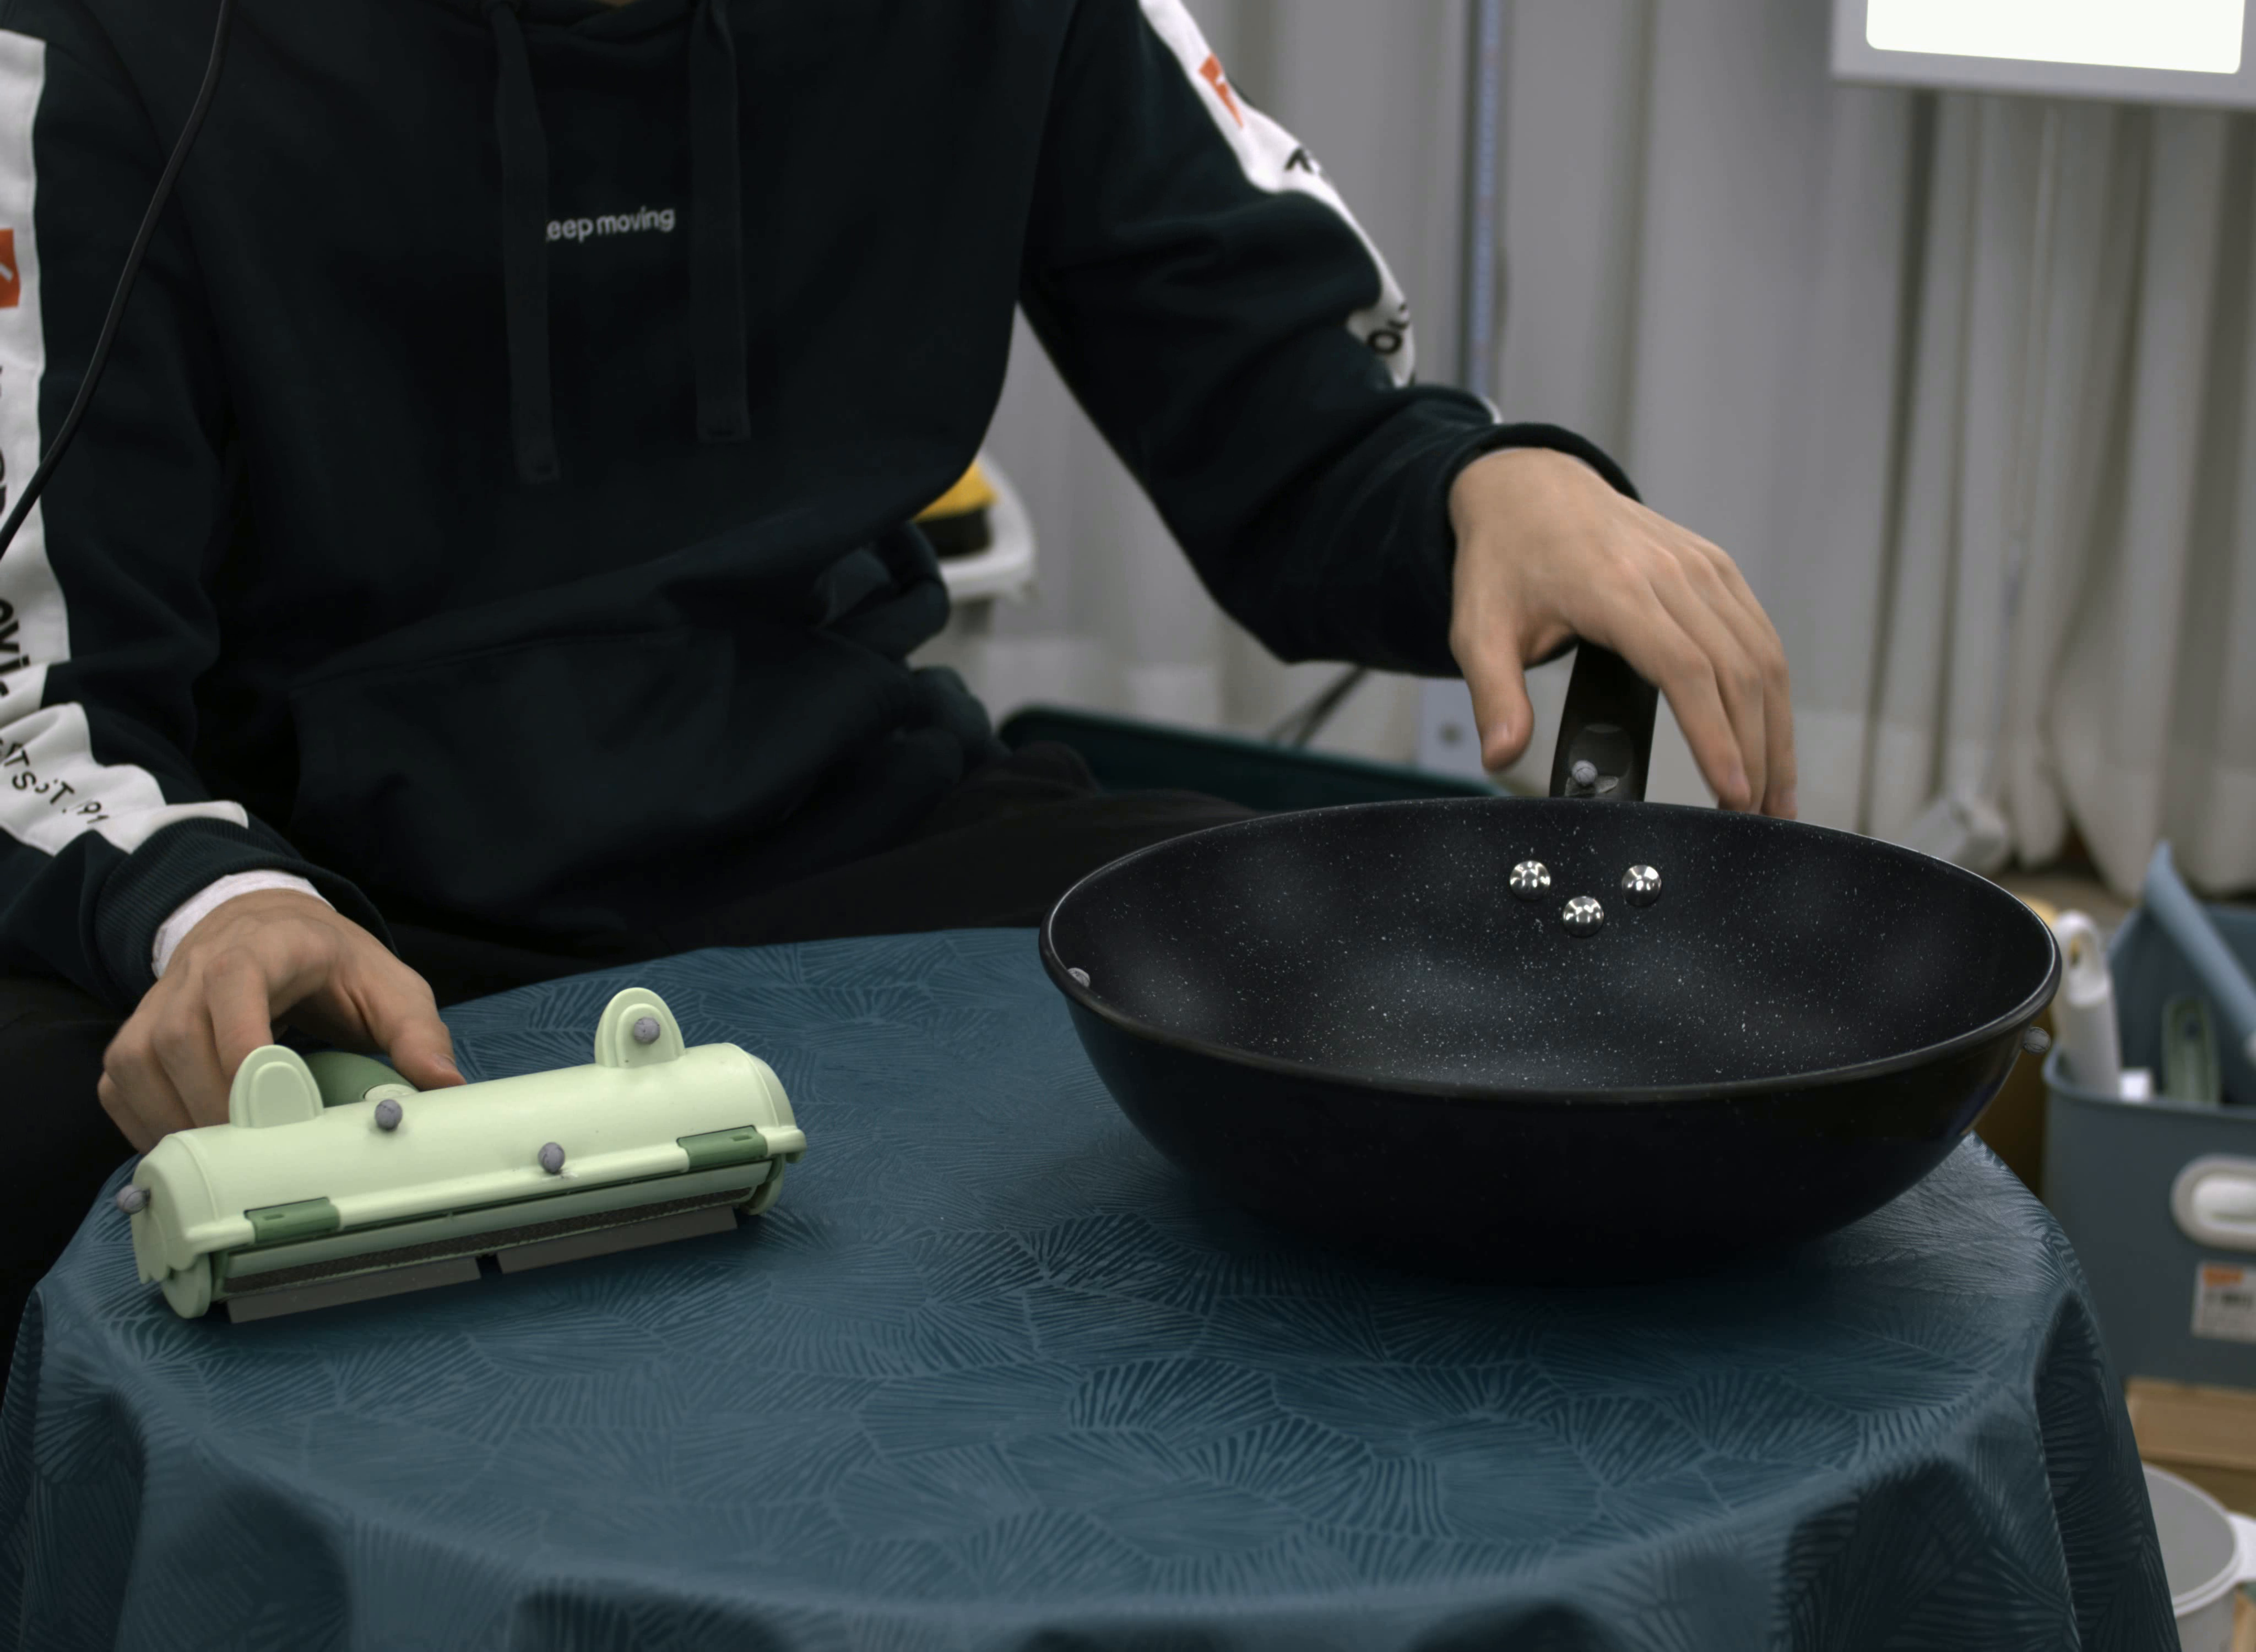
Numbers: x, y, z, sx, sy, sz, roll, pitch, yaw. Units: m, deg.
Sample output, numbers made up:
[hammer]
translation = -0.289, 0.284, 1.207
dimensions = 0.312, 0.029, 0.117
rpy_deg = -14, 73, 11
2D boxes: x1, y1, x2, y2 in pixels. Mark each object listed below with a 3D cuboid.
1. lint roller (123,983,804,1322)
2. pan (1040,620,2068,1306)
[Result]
[lint roller]
translation = -0.221, 0.079, 1.589
dimensions = 0.199, 0.083, 0.181
rpy_deg = -9, 23, -29
[pan]
translation = 0.140, 0.043, 1.676
dimensions = 0.308, 0.112, 0.475
rpy_deg = 4, 16, 8
